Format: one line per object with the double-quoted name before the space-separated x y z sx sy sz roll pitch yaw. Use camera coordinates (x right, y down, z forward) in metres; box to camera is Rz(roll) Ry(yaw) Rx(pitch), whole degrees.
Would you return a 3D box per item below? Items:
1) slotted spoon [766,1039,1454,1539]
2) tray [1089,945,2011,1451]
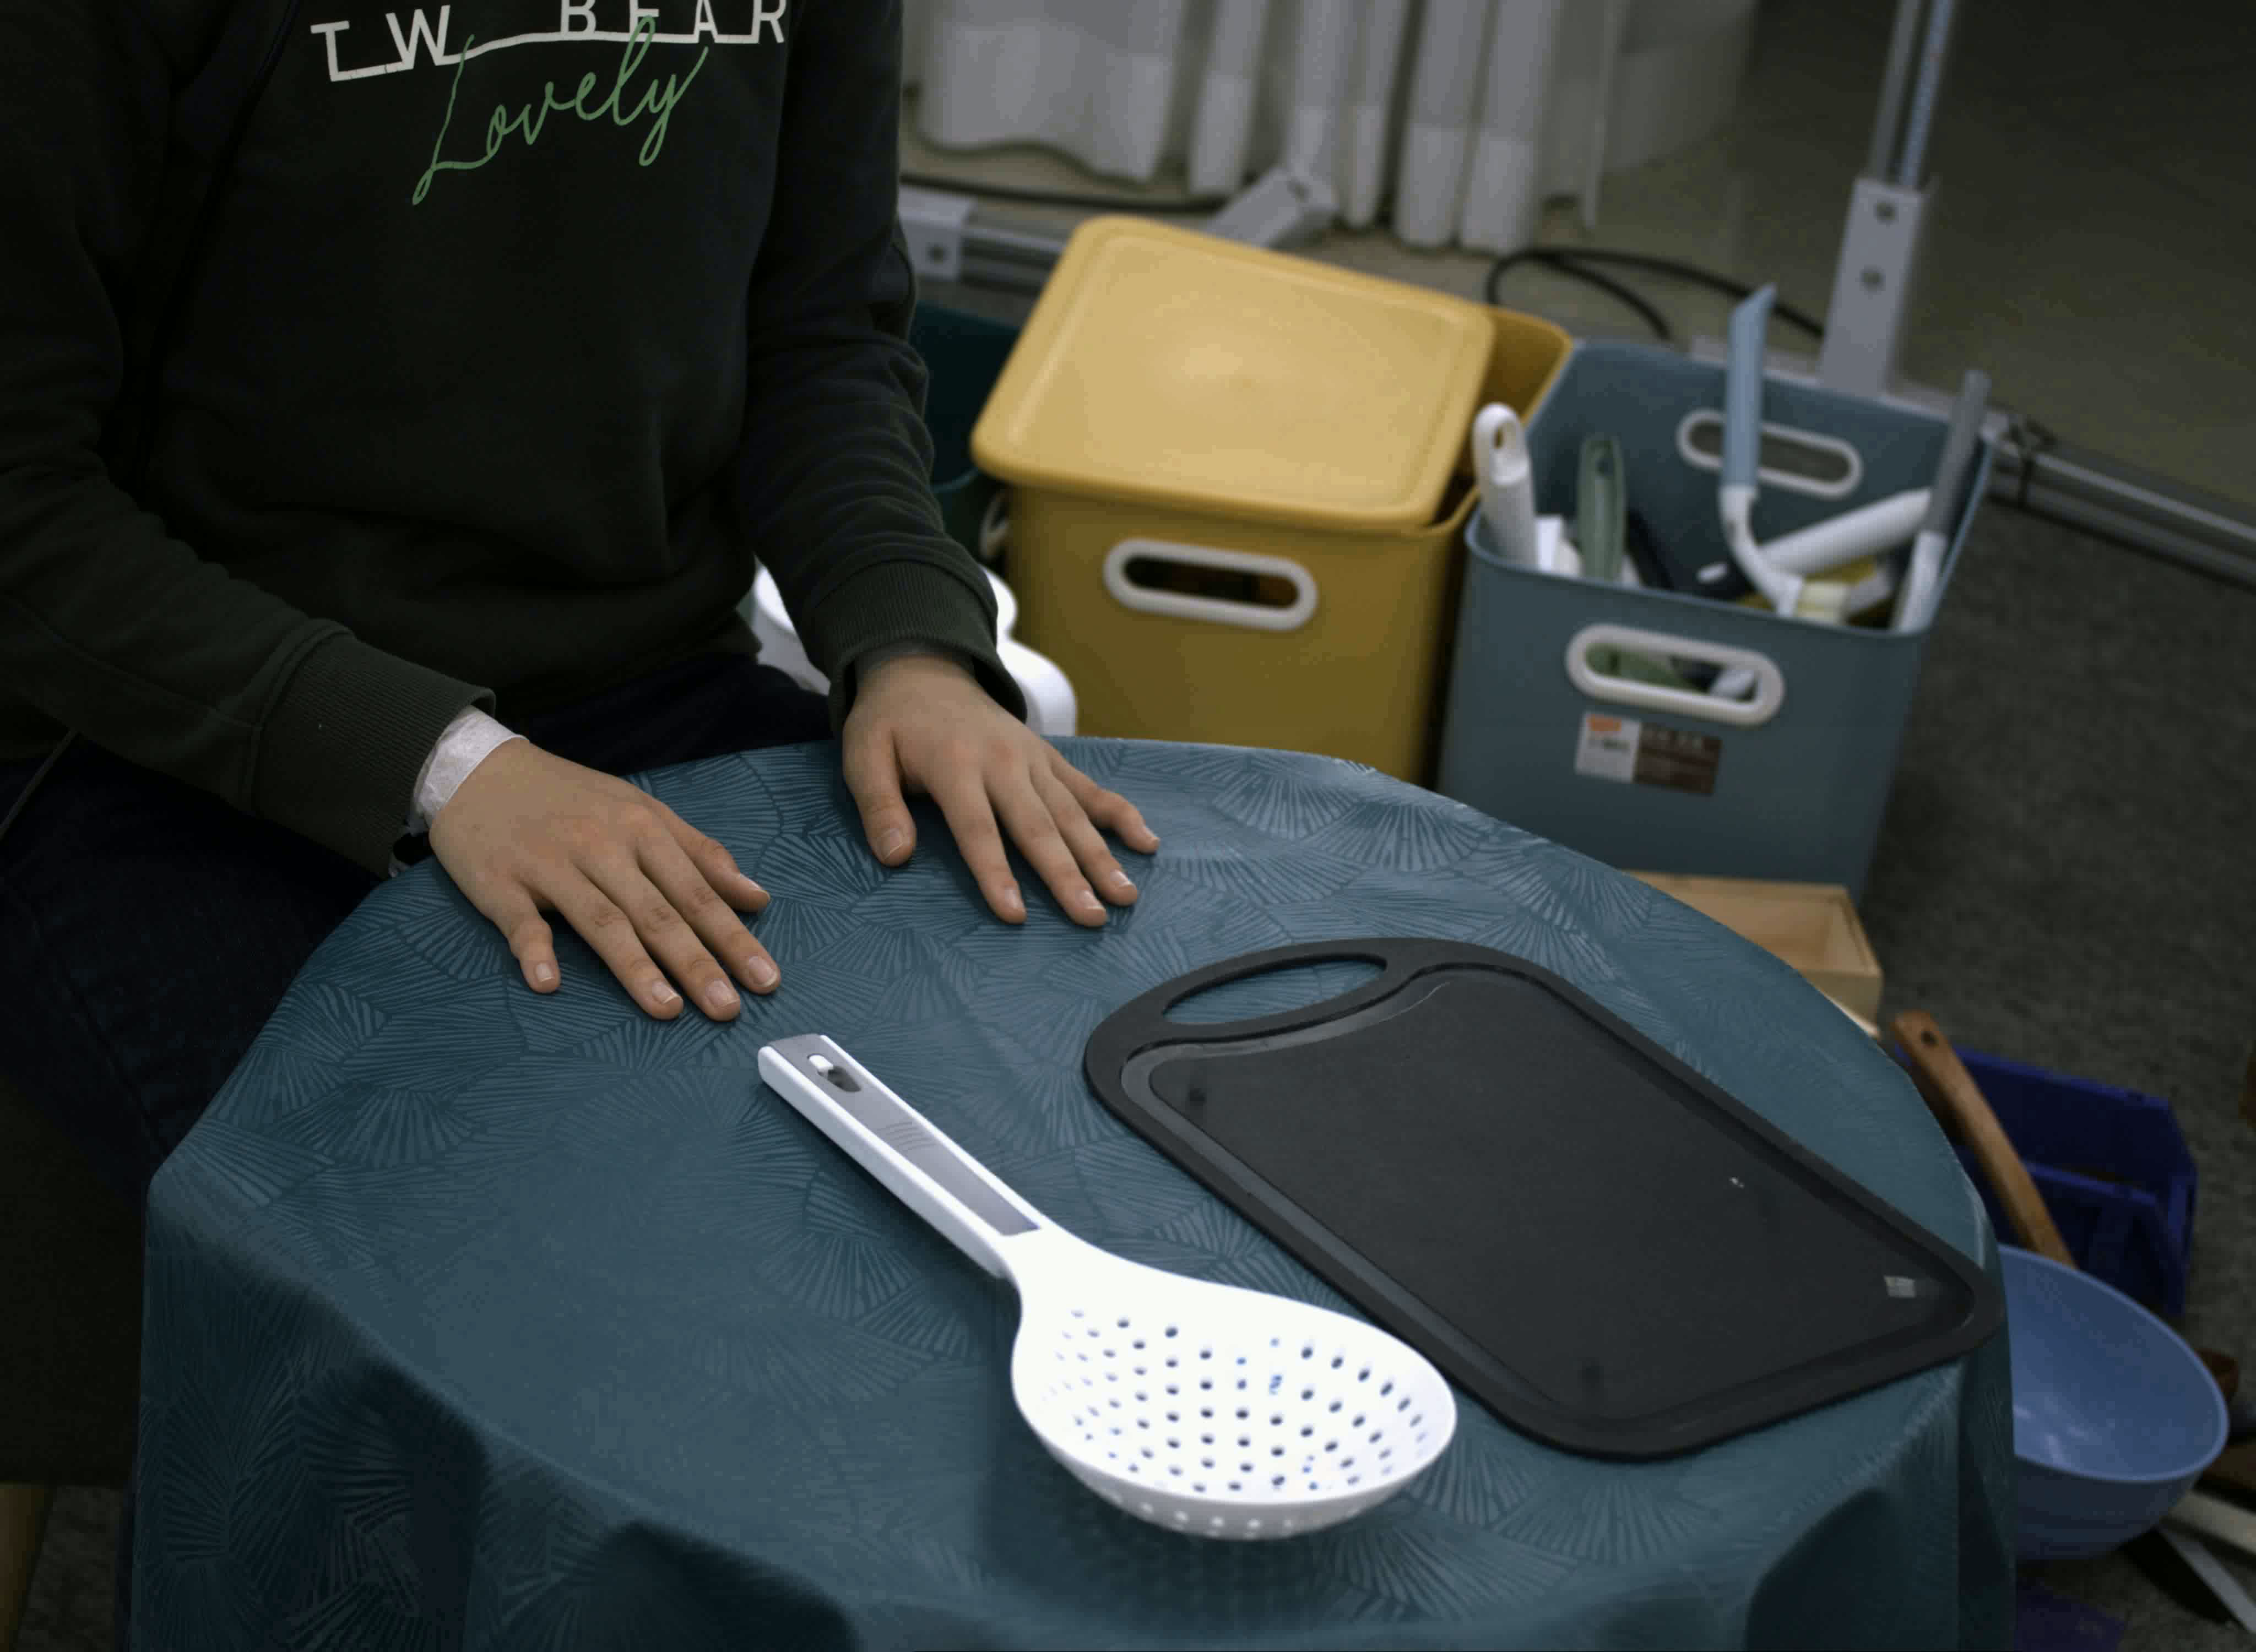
"slotted spoon" -0.025 0.142 1.708 0.135 0.045 0.353 -8 29 -31
"tray" 0.135 0.118 1.834 0.210 0.010 0.328 -13 32 -34
